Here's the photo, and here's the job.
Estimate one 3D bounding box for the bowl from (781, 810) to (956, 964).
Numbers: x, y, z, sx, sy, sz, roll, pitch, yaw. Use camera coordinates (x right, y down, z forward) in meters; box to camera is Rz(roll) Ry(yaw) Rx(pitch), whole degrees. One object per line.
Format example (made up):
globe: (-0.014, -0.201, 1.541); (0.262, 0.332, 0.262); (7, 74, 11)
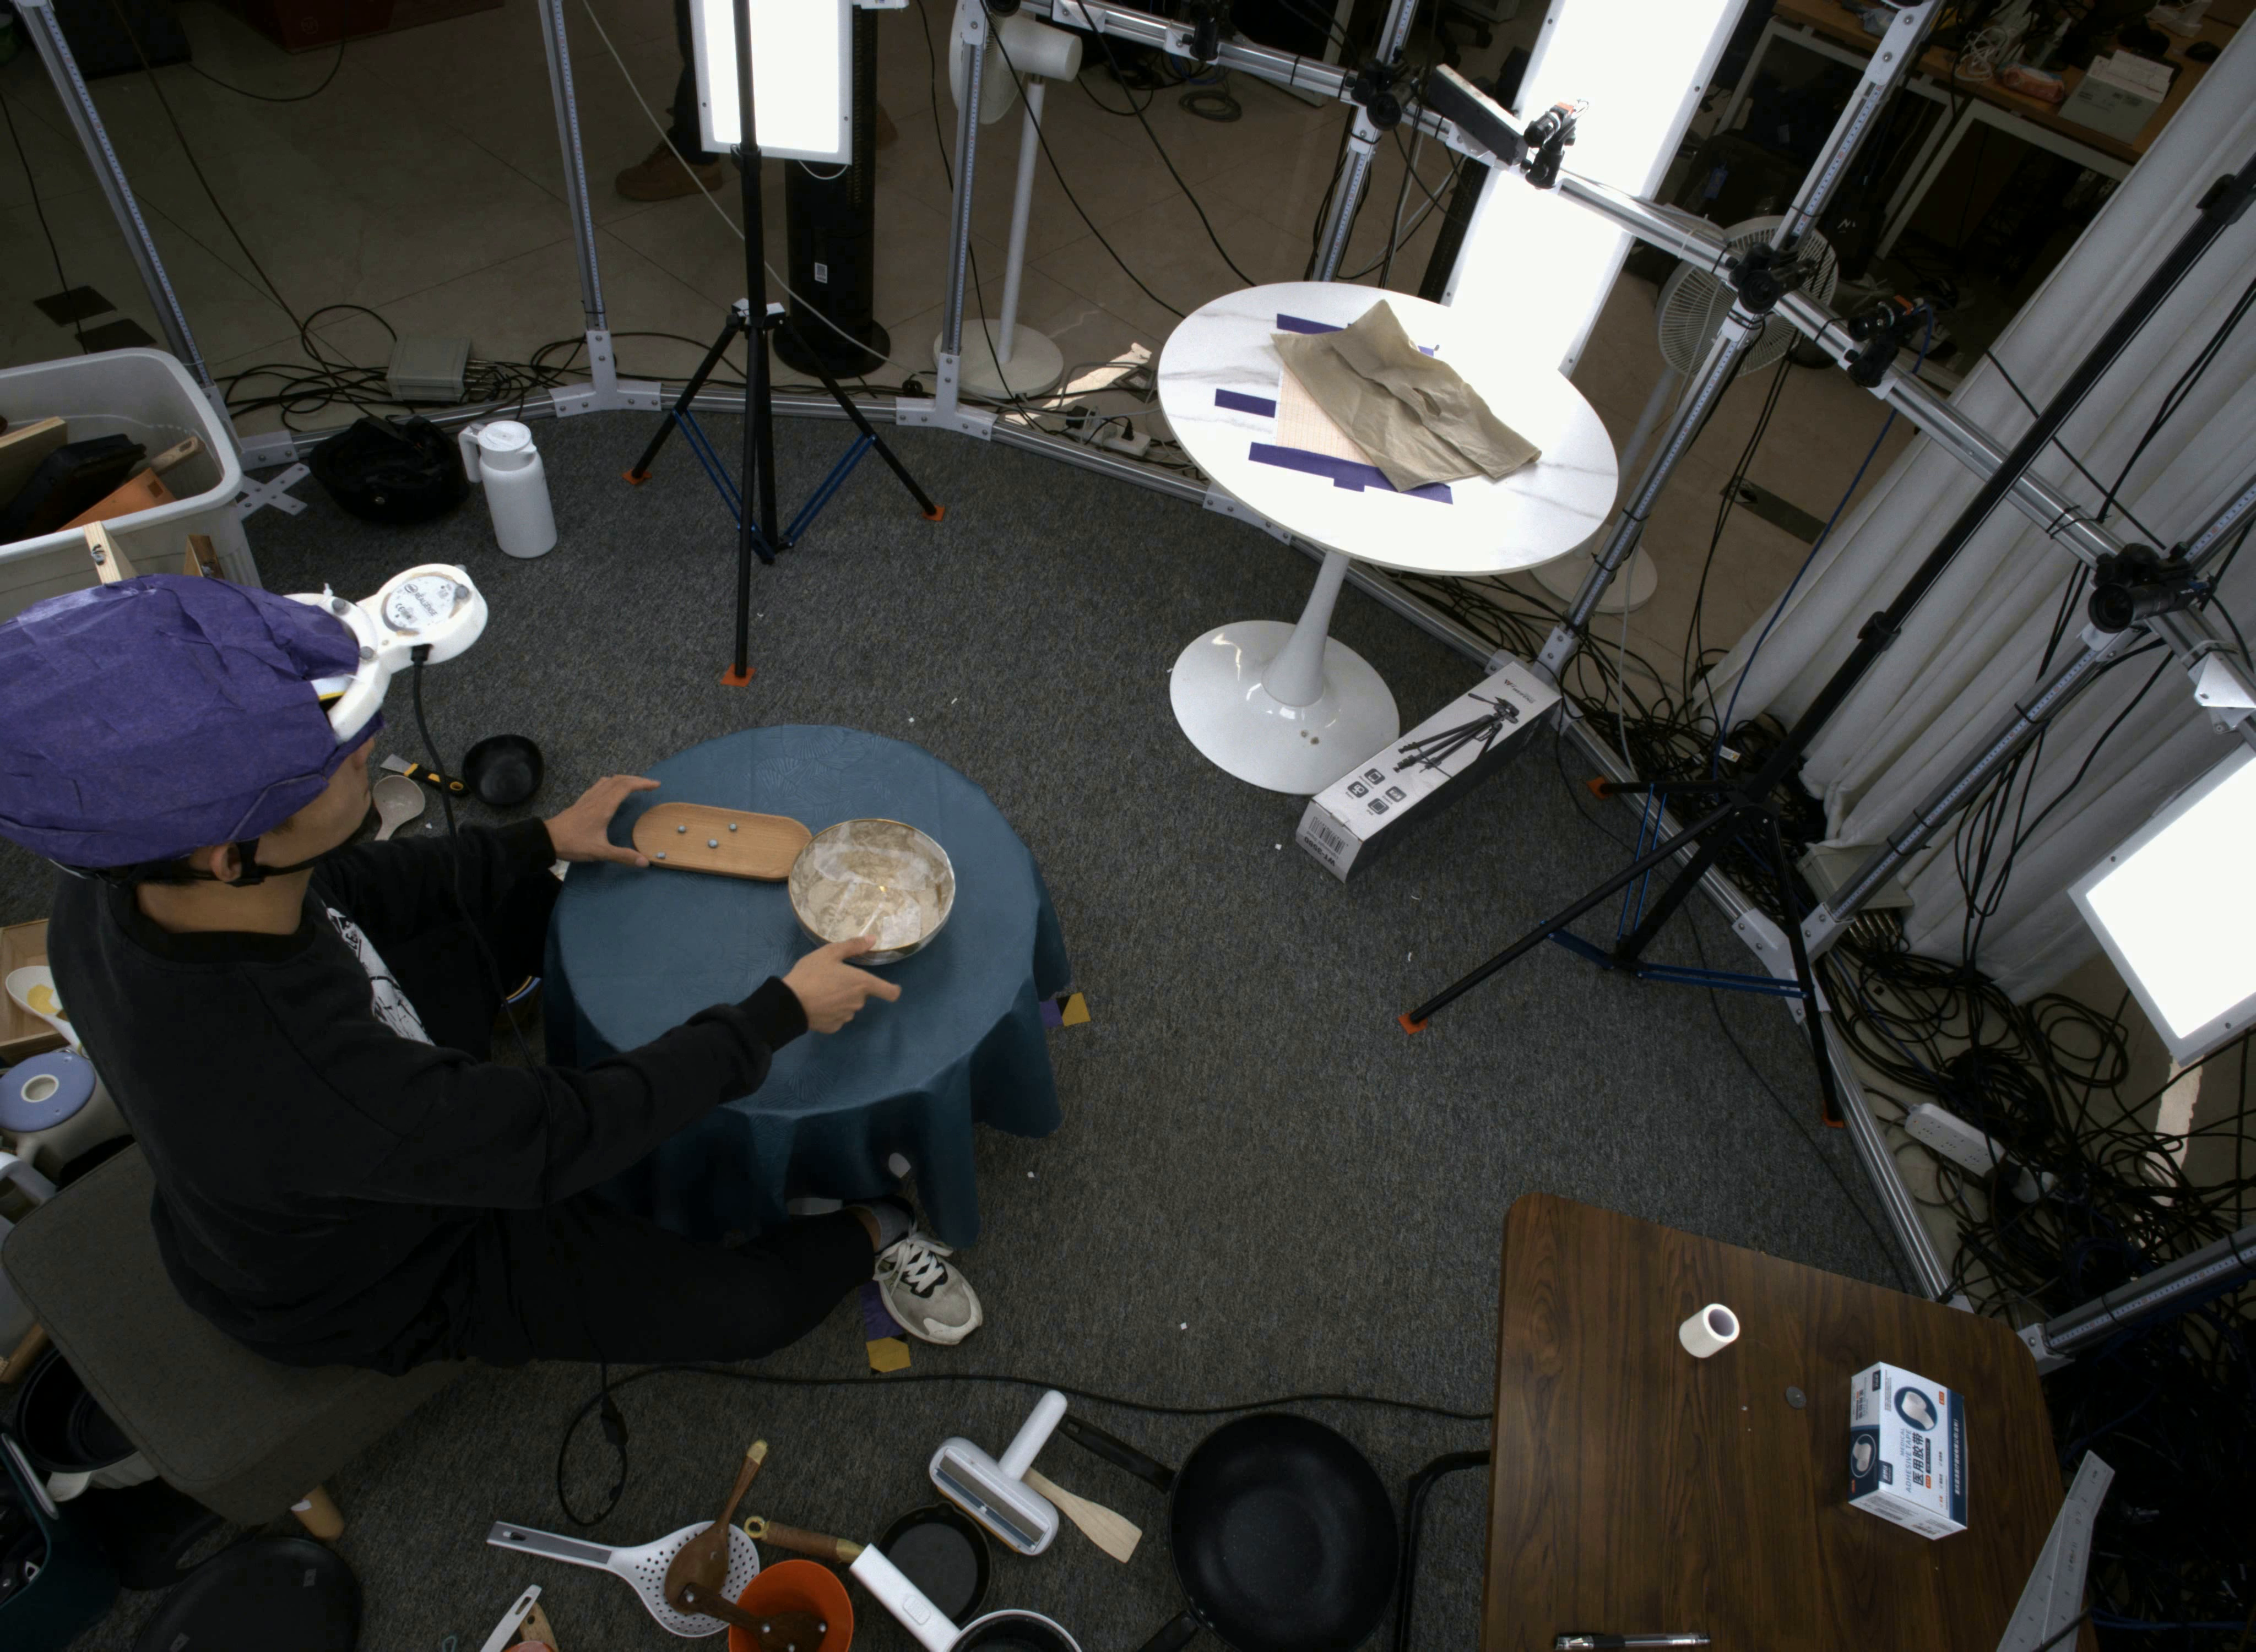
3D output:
bowl: (-0.324, 0.091, 1.627); (0.214, 0.096, 0.211); (8, 53, -9)

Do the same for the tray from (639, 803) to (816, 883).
tray: (-0.520, 0.021, 1.679); (0.231, 0.020, 0.100); (8, 55, -11)
